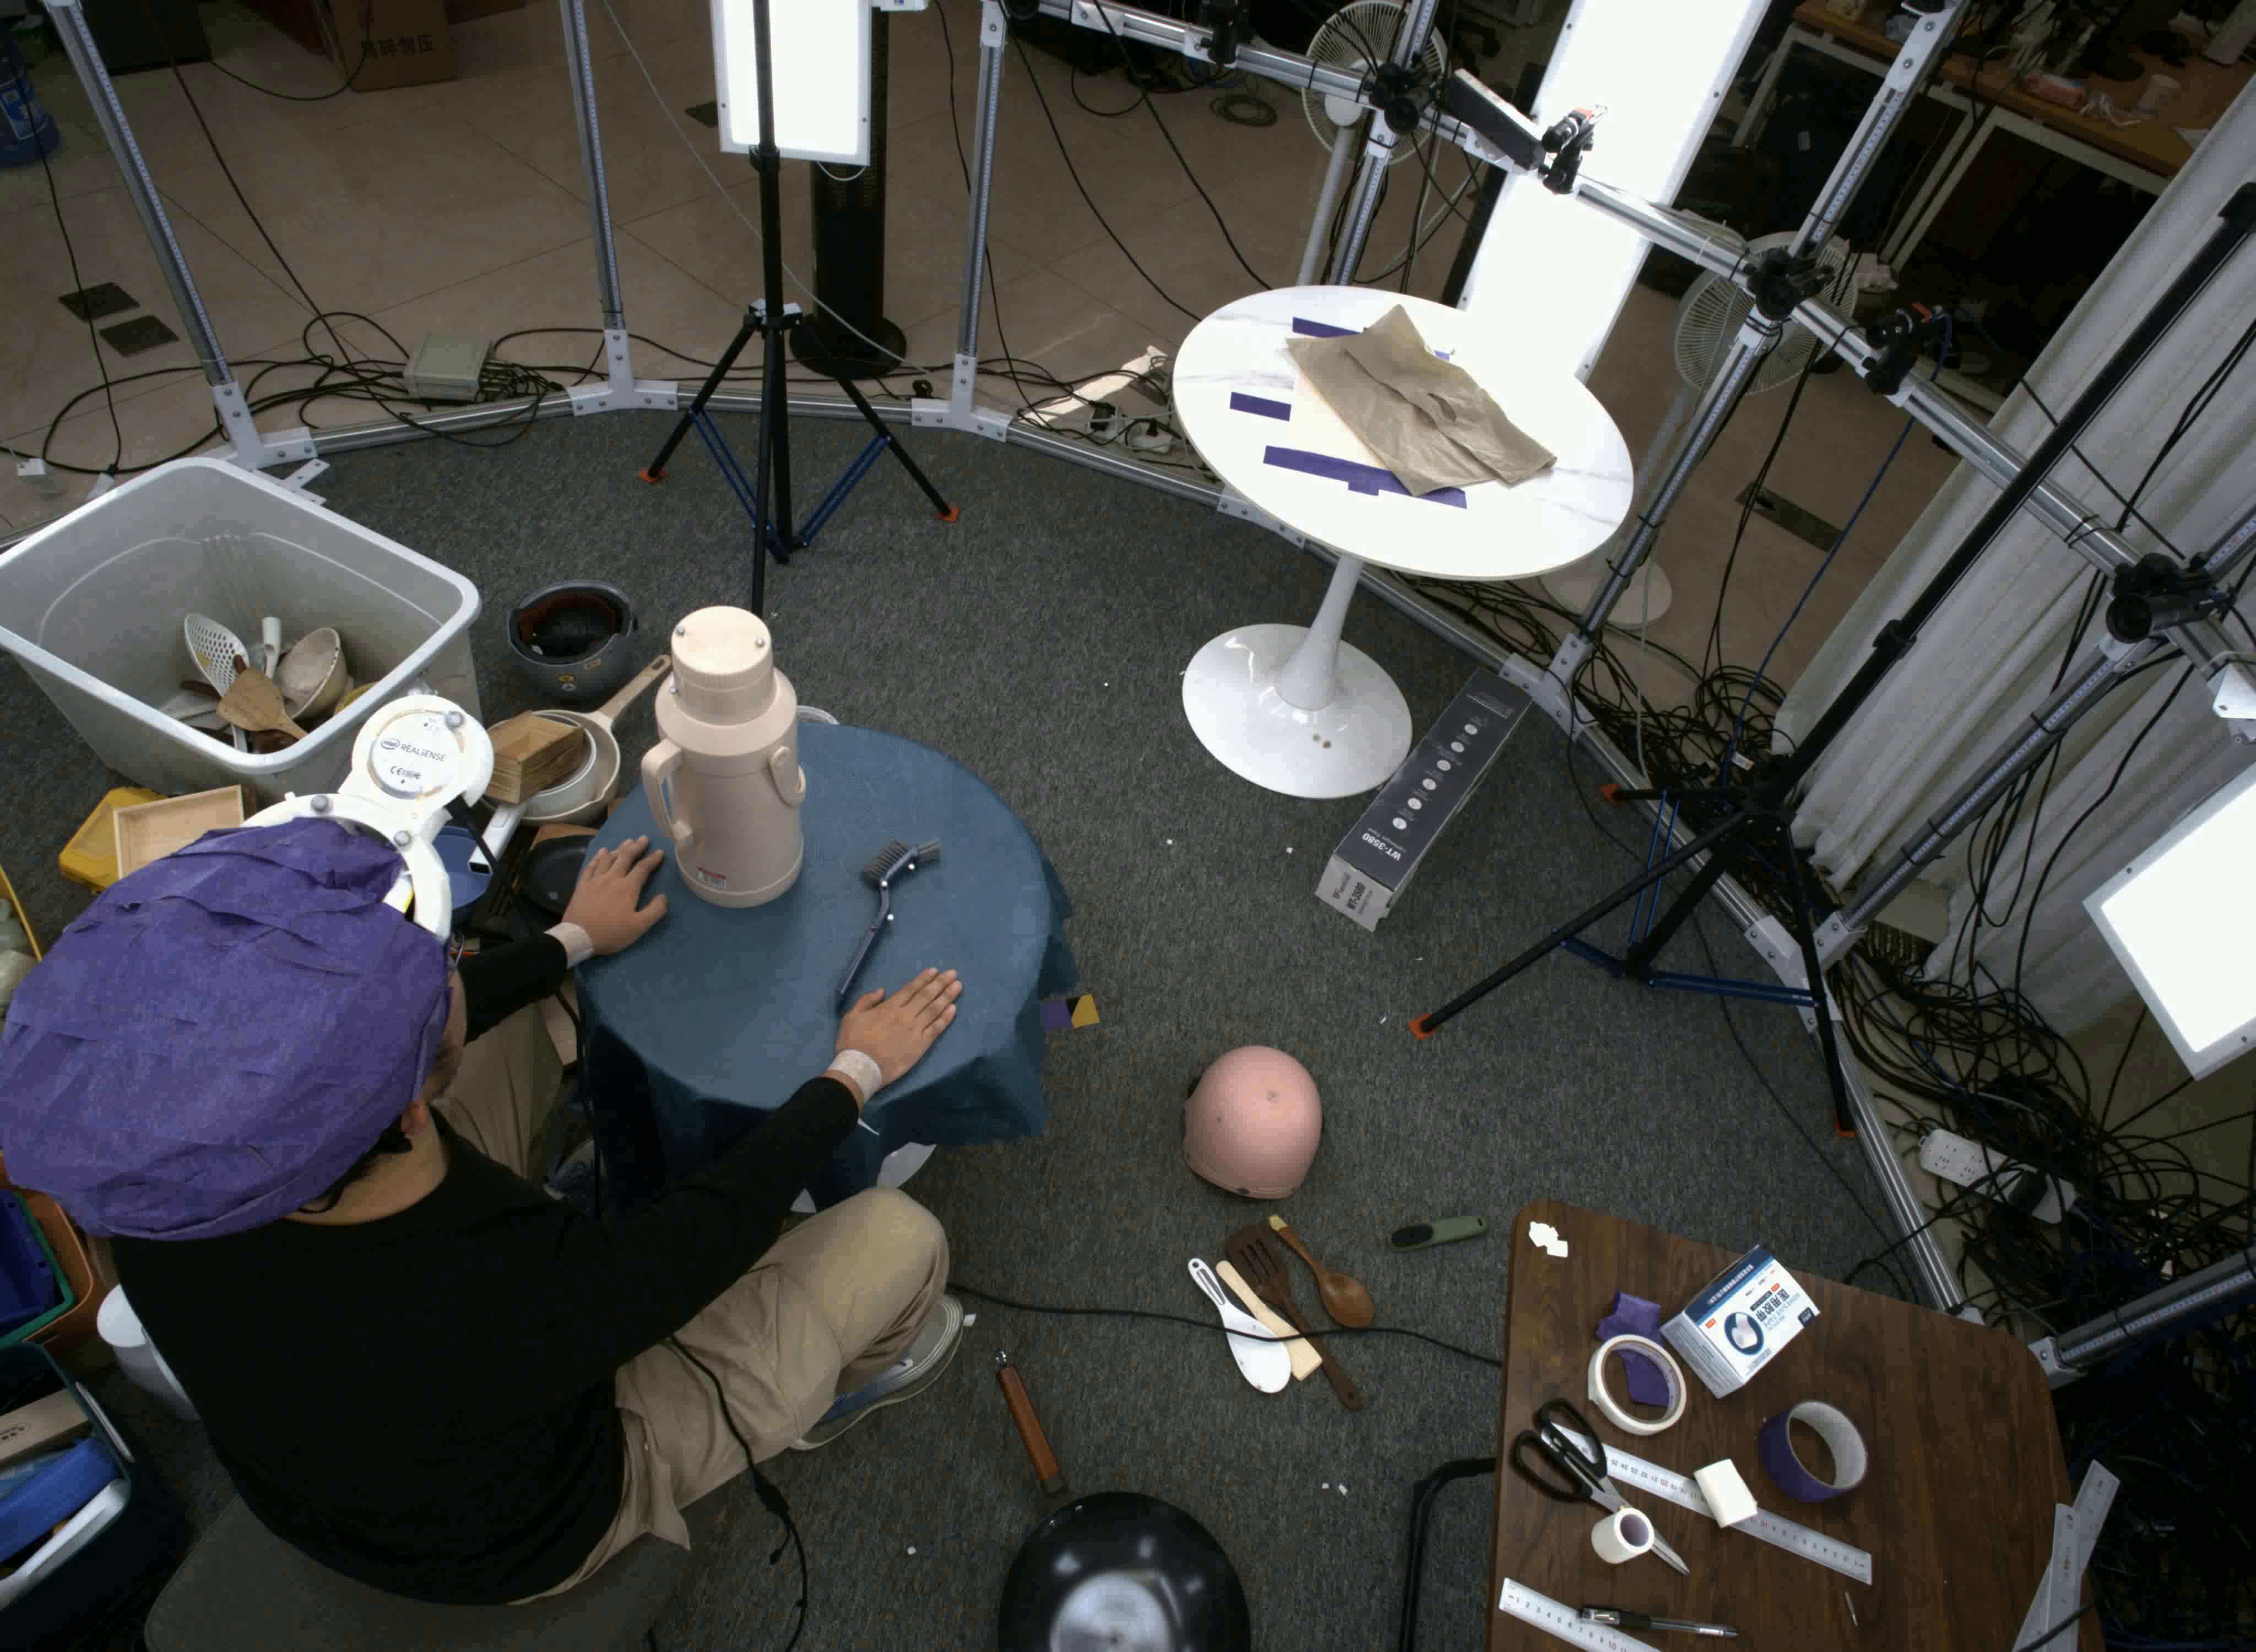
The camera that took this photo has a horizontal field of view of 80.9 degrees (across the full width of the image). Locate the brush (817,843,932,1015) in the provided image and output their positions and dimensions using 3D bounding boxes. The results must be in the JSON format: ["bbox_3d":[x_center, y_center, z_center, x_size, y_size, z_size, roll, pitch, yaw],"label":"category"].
[{"bbox_3d":[-0.321,0.121,1.634,0.095,0.034,0.269,13,49,-3],"label":"brush"}]

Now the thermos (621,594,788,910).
[{"bbox_3d":[-0.496,-0.075,1.498,0.172,0.414,0.207,33,53,13],"label":"thermos"}]
